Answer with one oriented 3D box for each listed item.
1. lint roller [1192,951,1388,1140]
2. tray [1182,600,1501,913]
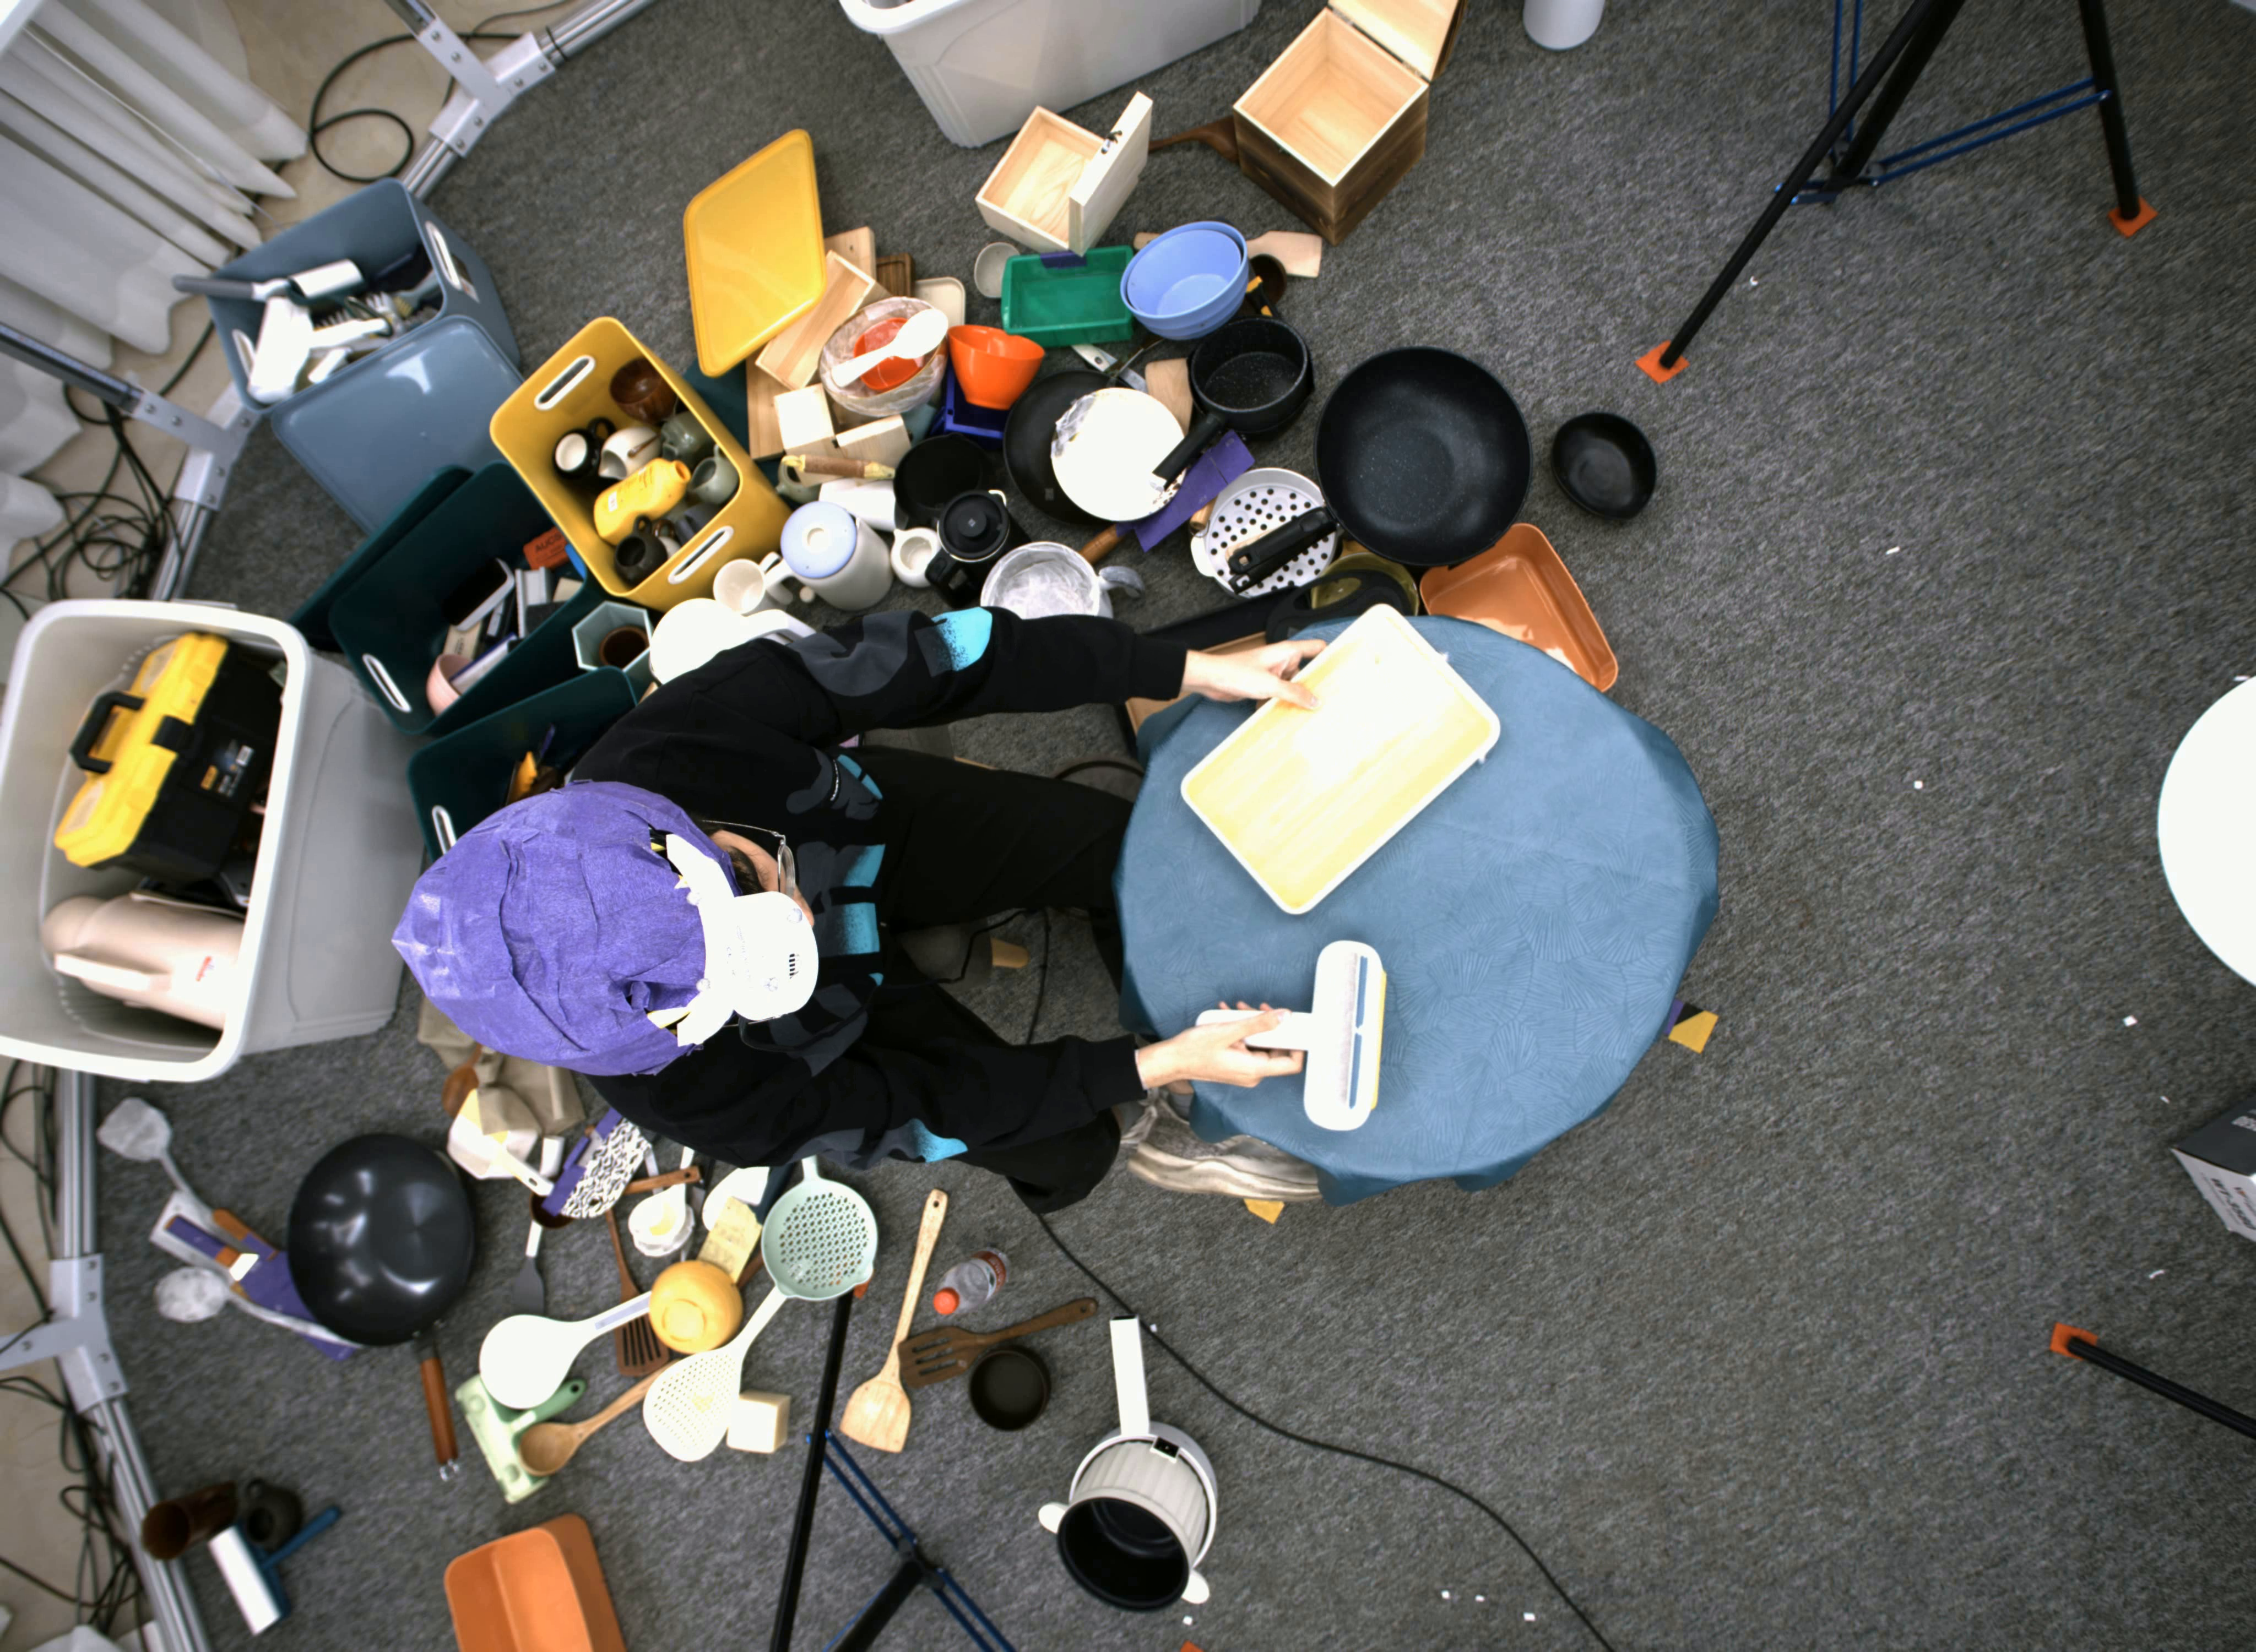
[{"bbox_3d":[0.158,0.211,1.407,0.193,0.075,0.190,9,73,11],"label":"lint roller"},{"bbox_3d":[0.222,-0.074,1.444,0.301,0.027,0.191,-44,86,3],"label":"tray"}]
